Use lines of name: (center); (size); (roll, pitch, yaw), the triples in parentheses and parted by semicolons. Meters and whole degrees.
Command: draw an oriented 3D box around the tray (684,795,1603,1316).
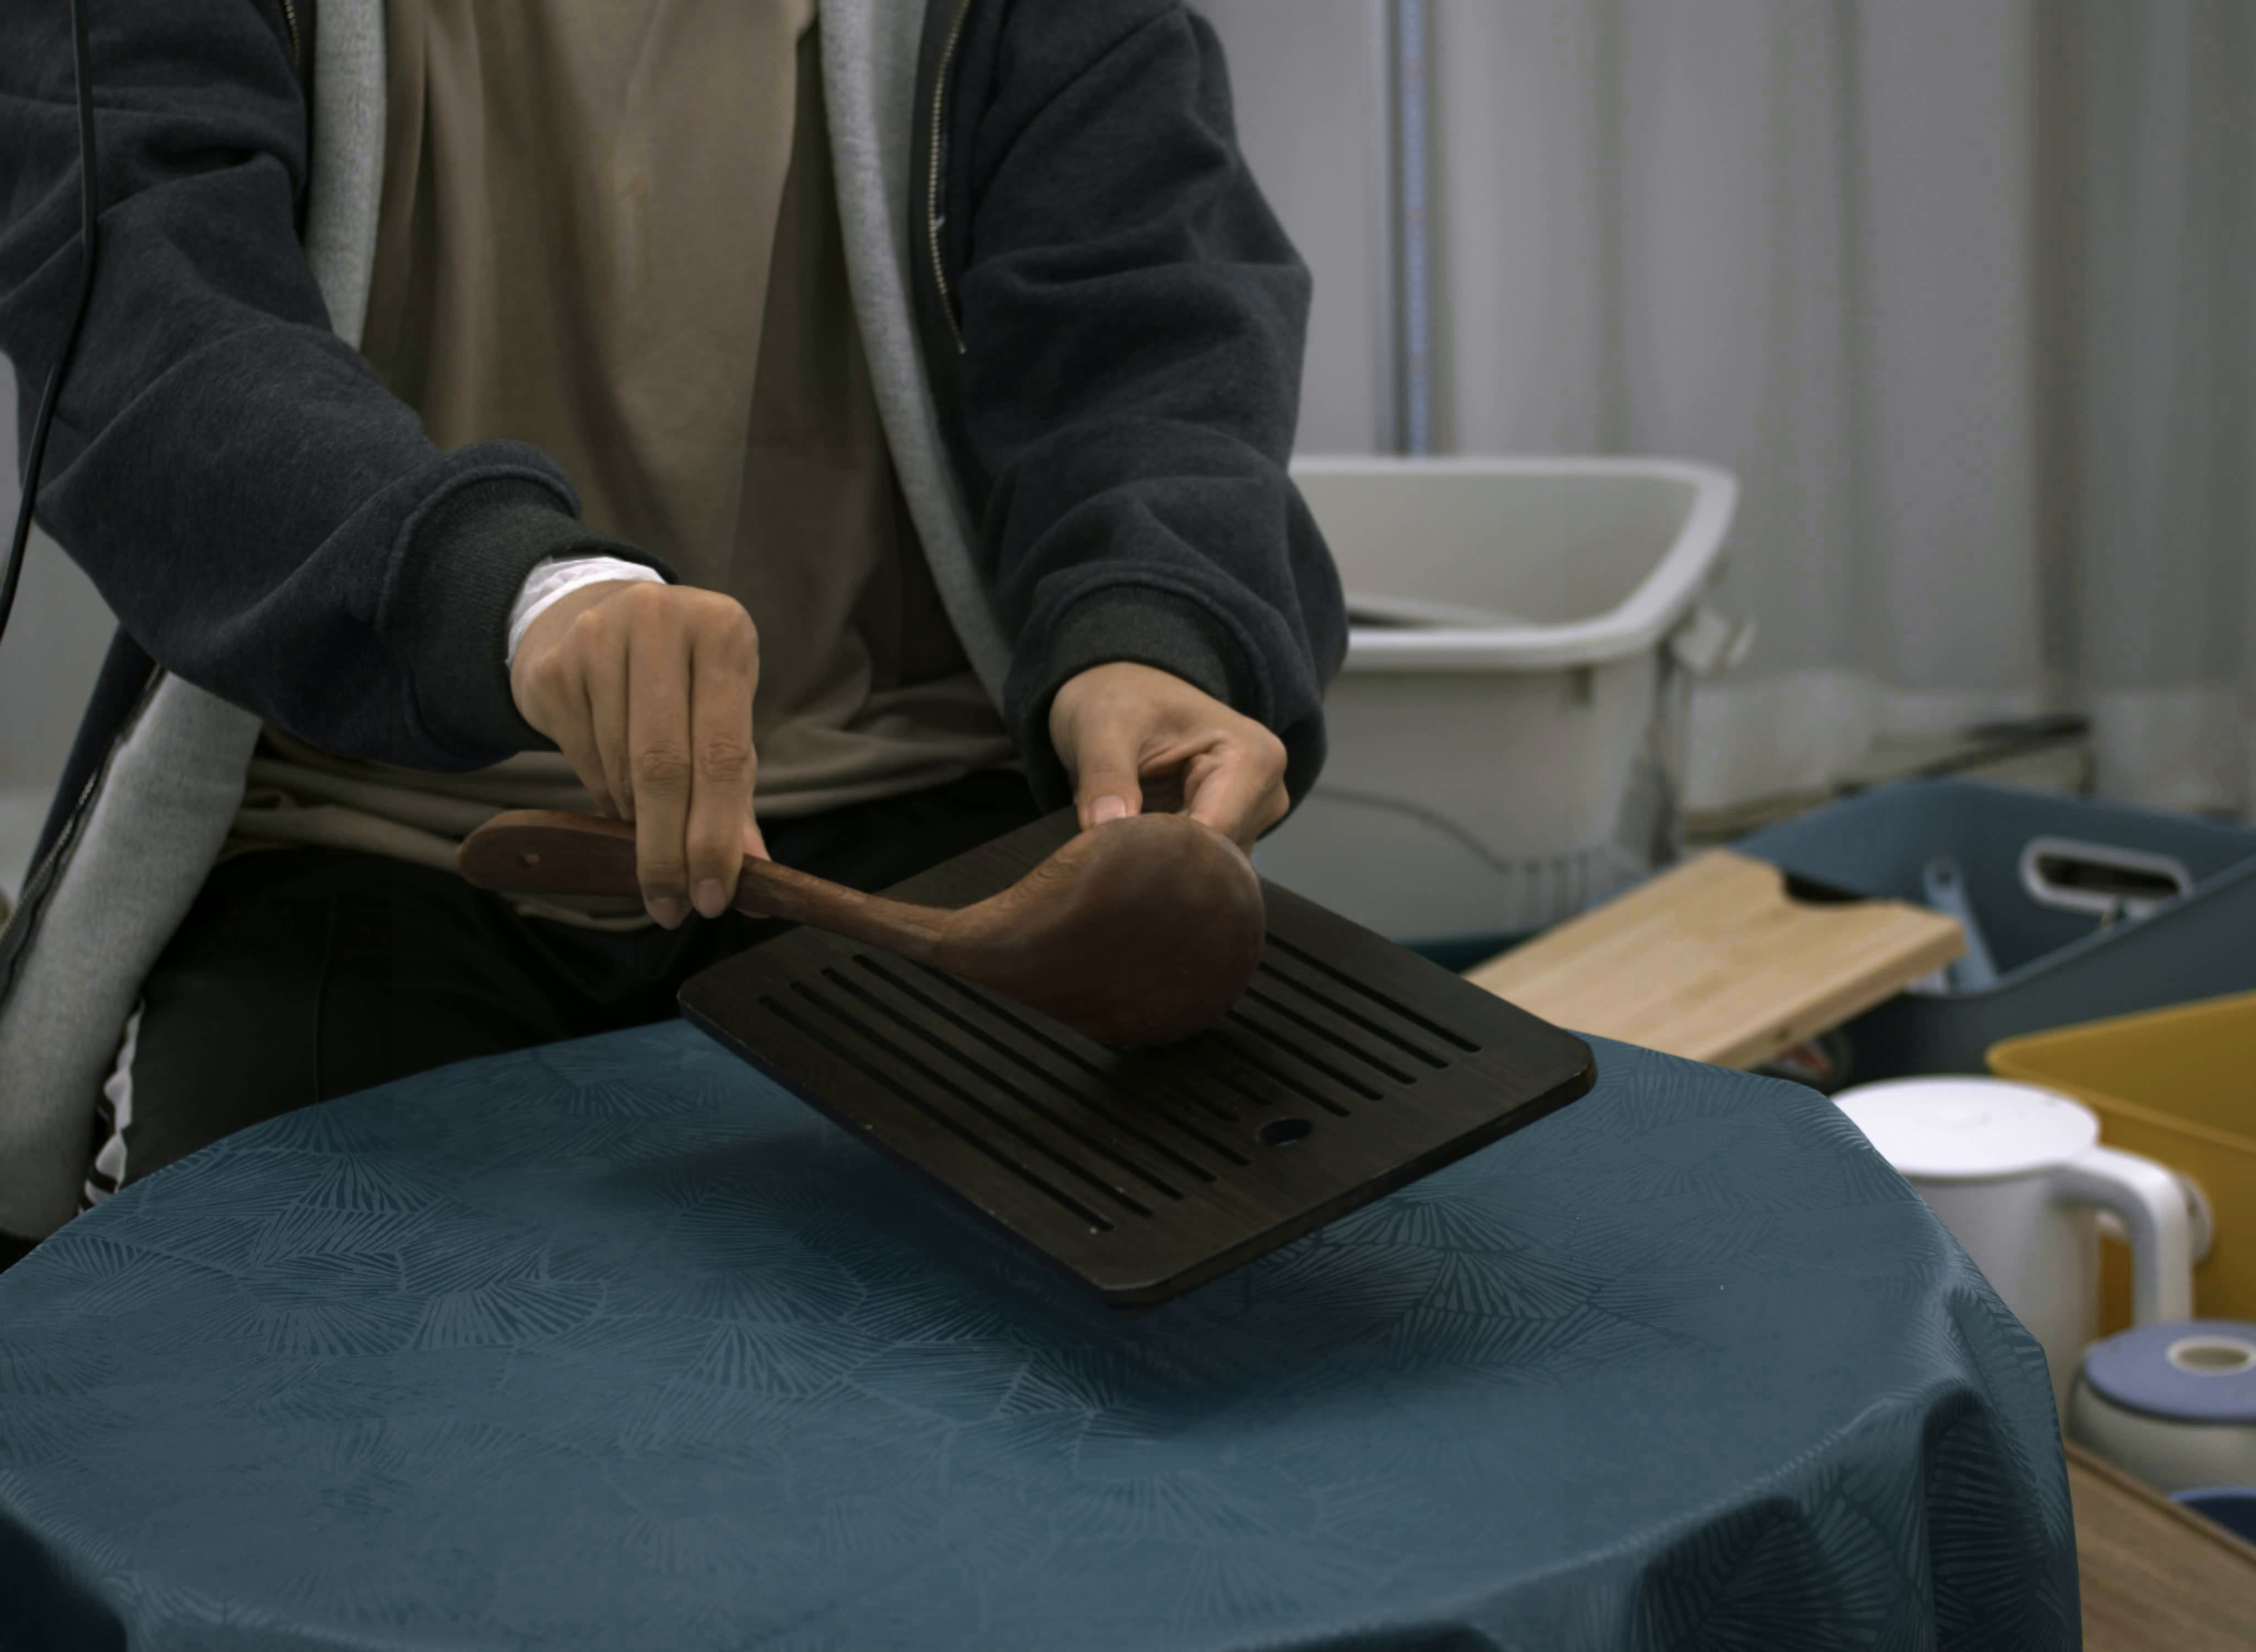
tray: (-0.002, 0.065, 1.675); (0.170, 0.018, 0.308); (-24, 25, -22)

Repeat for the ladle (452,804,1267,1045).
ladle: (-0.082, 0.016, 1.673); (0.261, 0.076, 0.065); (10, 24, 25)
